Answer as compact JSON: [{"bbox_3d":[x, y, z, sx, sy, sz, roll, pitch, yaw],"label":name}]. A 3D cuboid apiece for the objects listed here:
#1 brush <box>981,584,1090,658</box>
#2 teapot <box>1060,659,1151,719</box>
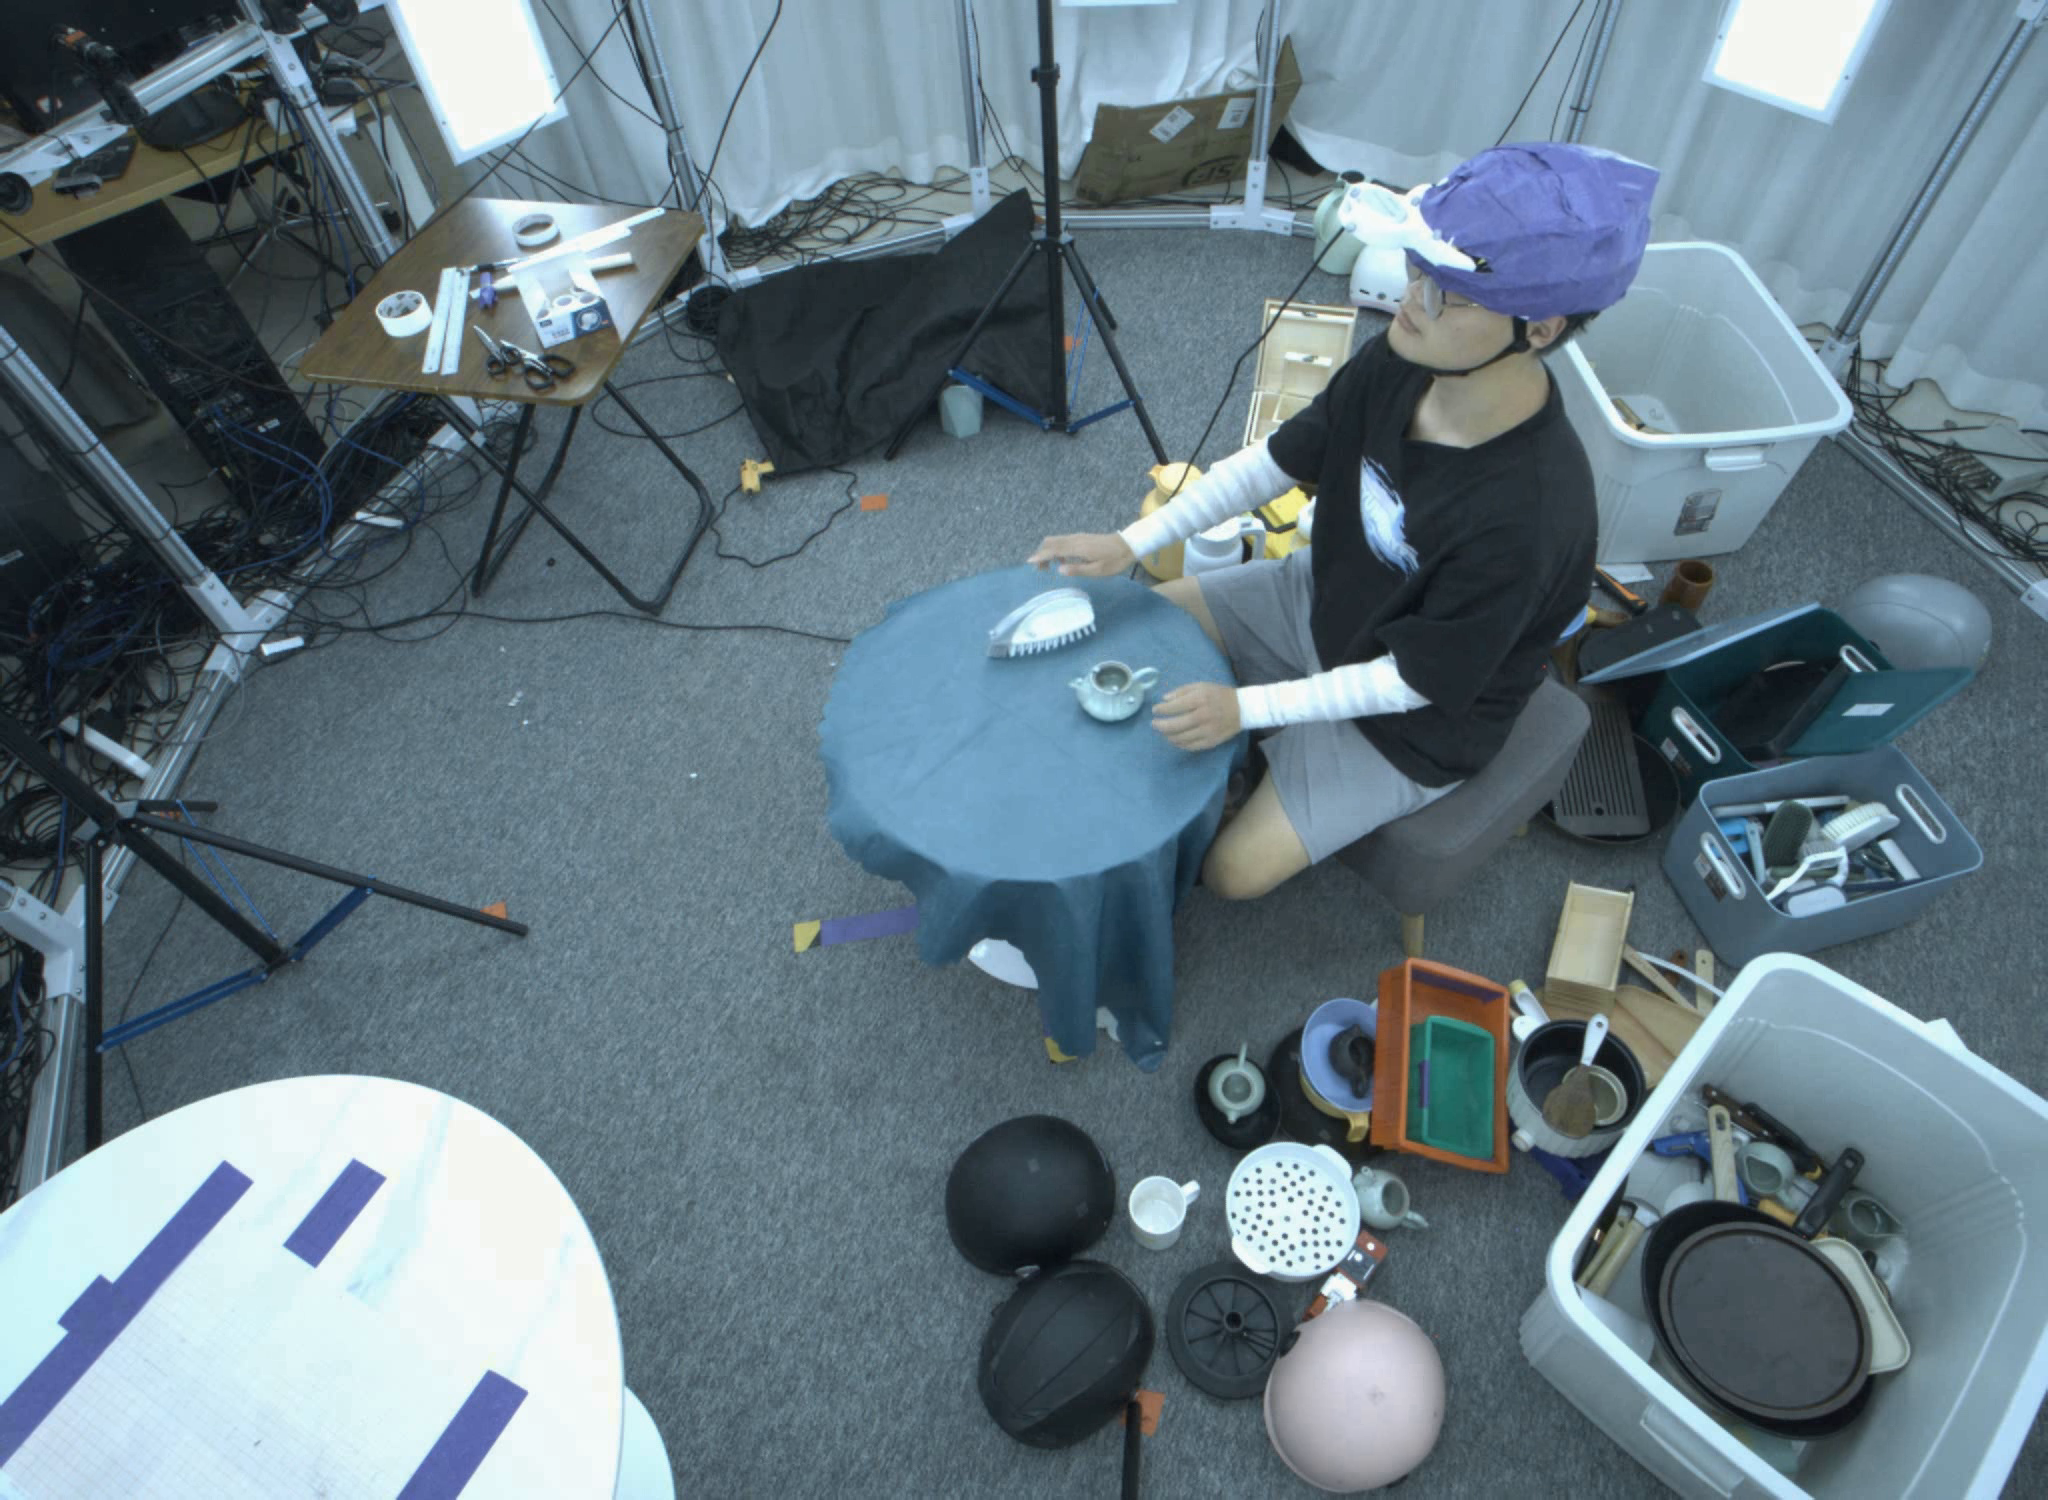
[{"bbox_3d":[0.011,-0.198,1.864,0.176,0.095,0.060,-21,52,-10],"label":"brush"},{"bbox_3d":[0.120,-0.094,1.804,0.137,0.062,0.094,-12,52,-7],"label":"teapot"}]
